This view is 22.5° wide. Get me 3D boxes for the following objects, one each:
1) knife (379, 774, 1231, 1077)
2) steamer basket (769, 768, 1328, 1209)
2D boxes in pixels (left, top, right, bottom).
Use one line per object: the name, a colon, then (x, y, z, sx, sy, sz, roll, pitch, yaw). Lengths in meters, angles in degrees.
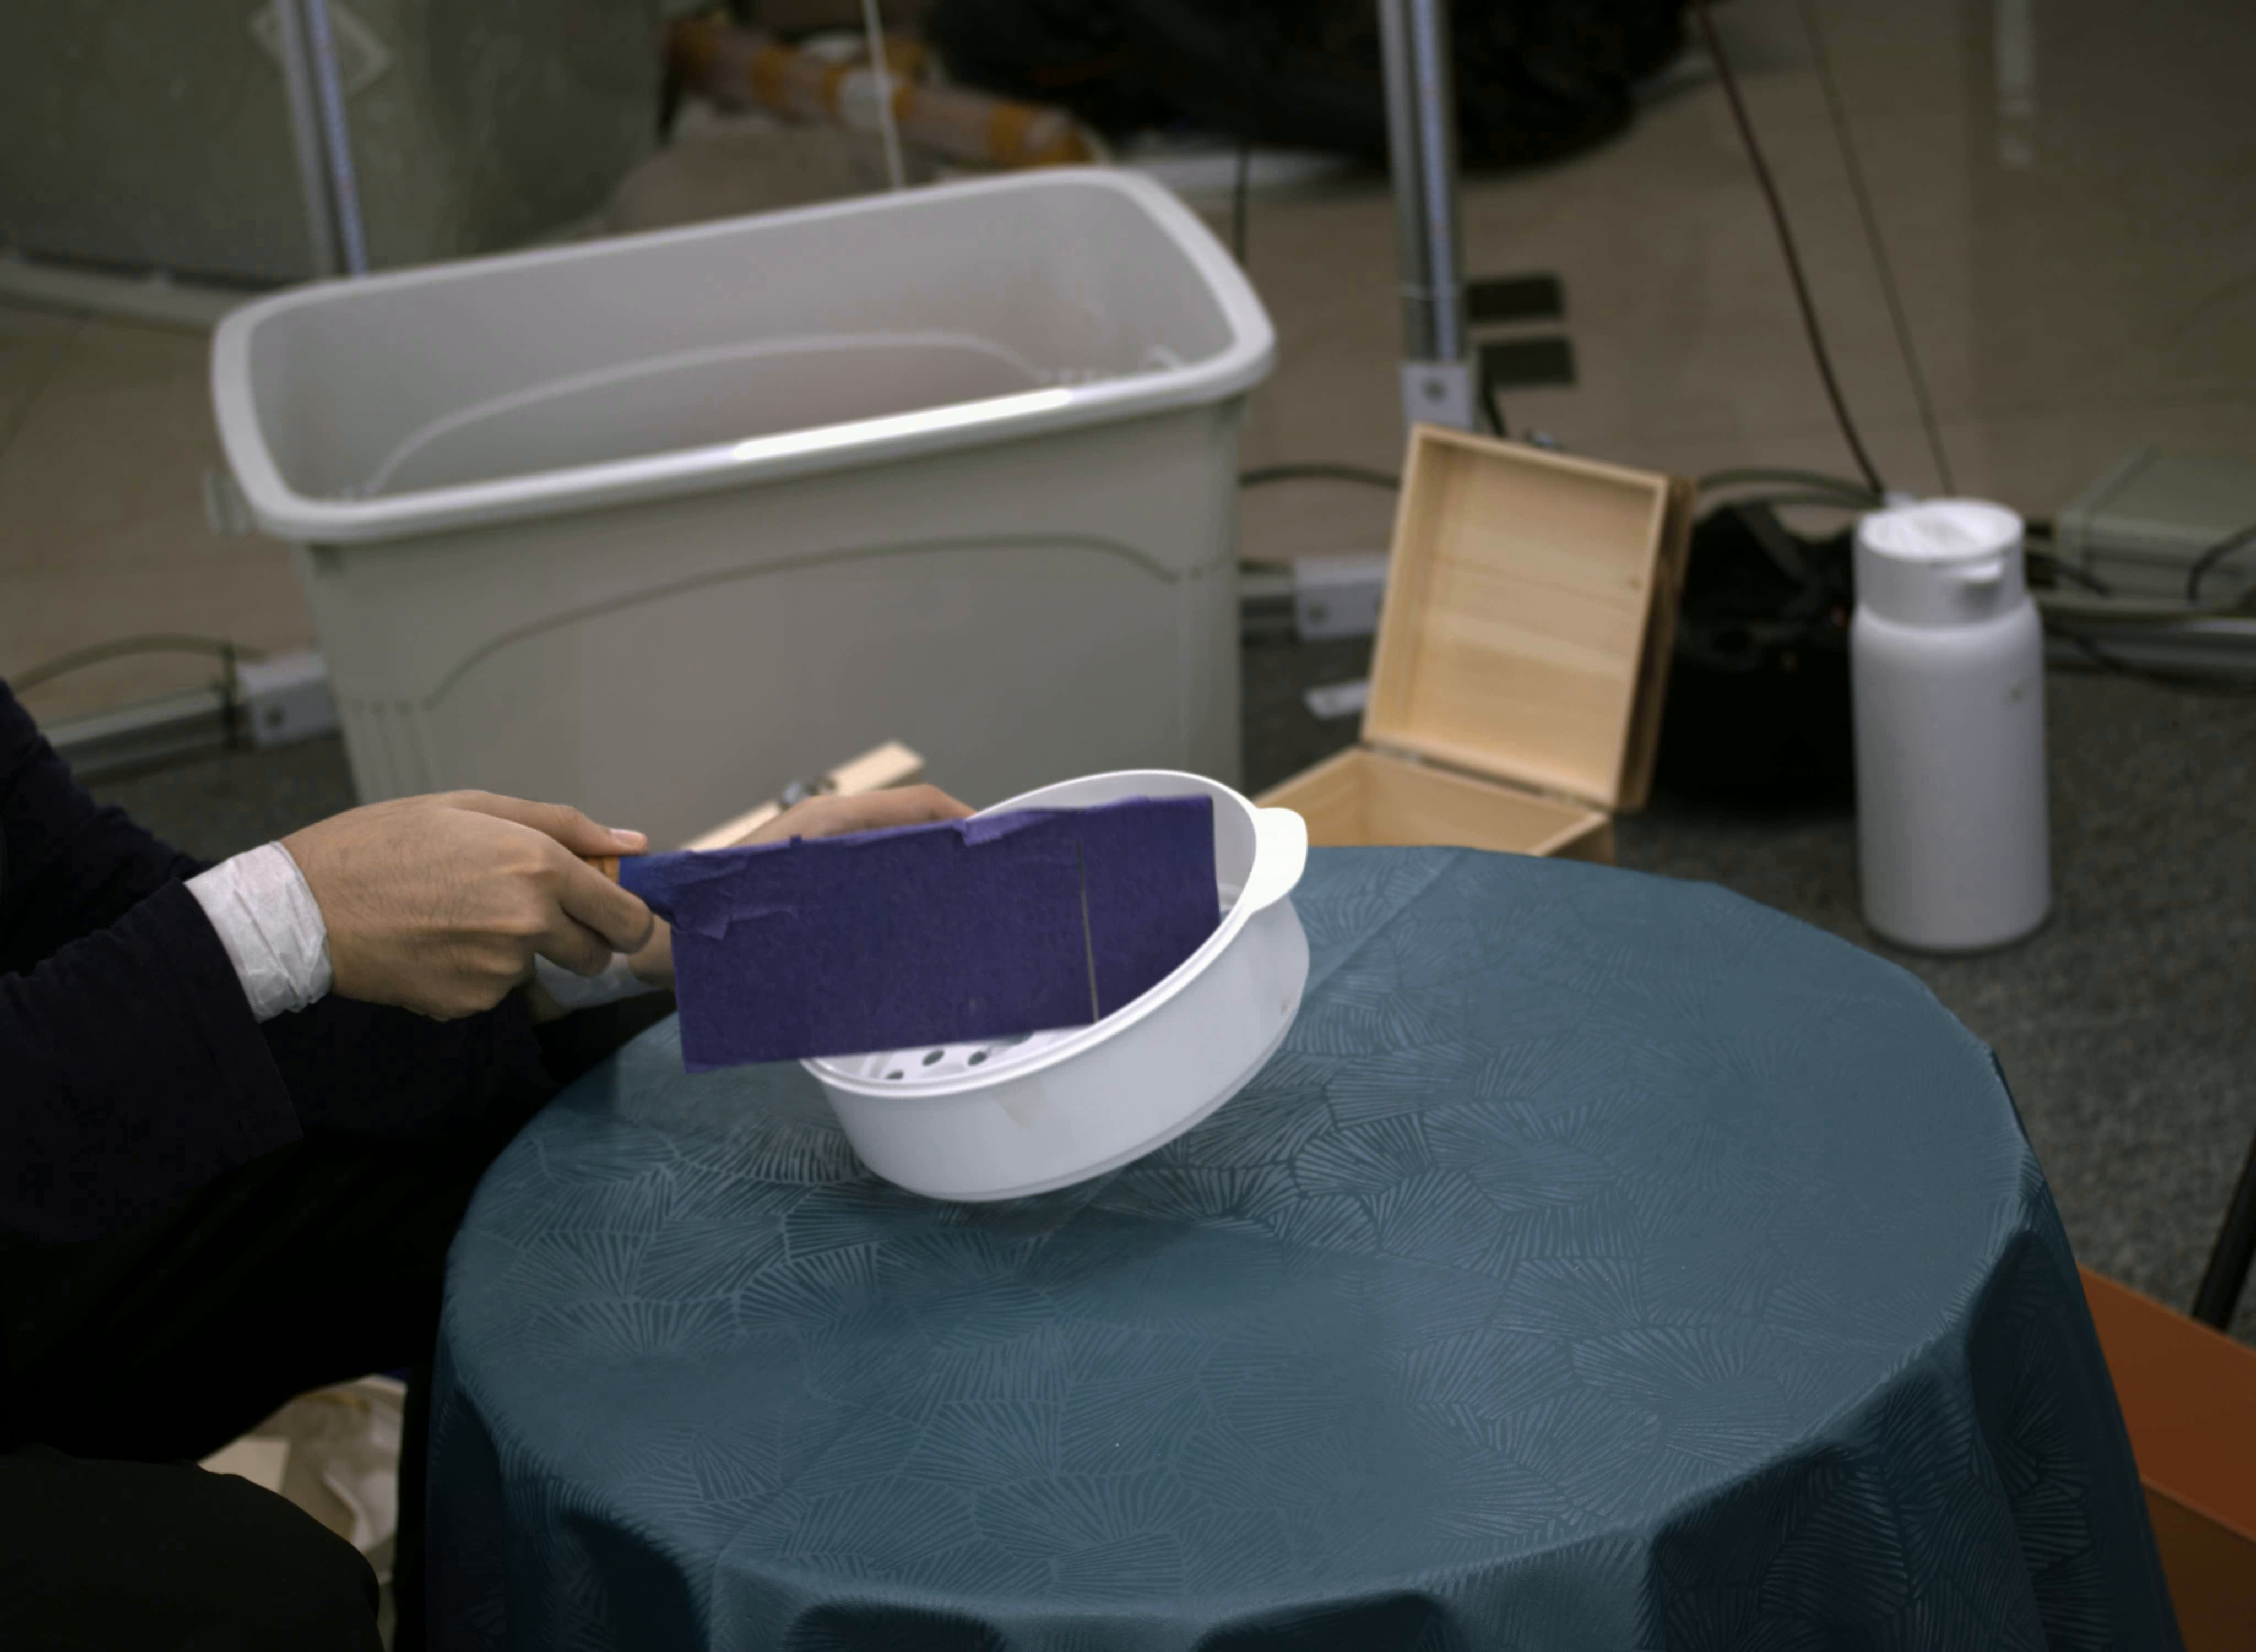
knife: (-0.116, 0.047, 2.096, 0.314, 0.105, 0.032, -6, 23, -5)
steamer basket: (-0.023, 0.063, 2.172, 0.231, 0.070, 0.198, -20, 29, 16)
